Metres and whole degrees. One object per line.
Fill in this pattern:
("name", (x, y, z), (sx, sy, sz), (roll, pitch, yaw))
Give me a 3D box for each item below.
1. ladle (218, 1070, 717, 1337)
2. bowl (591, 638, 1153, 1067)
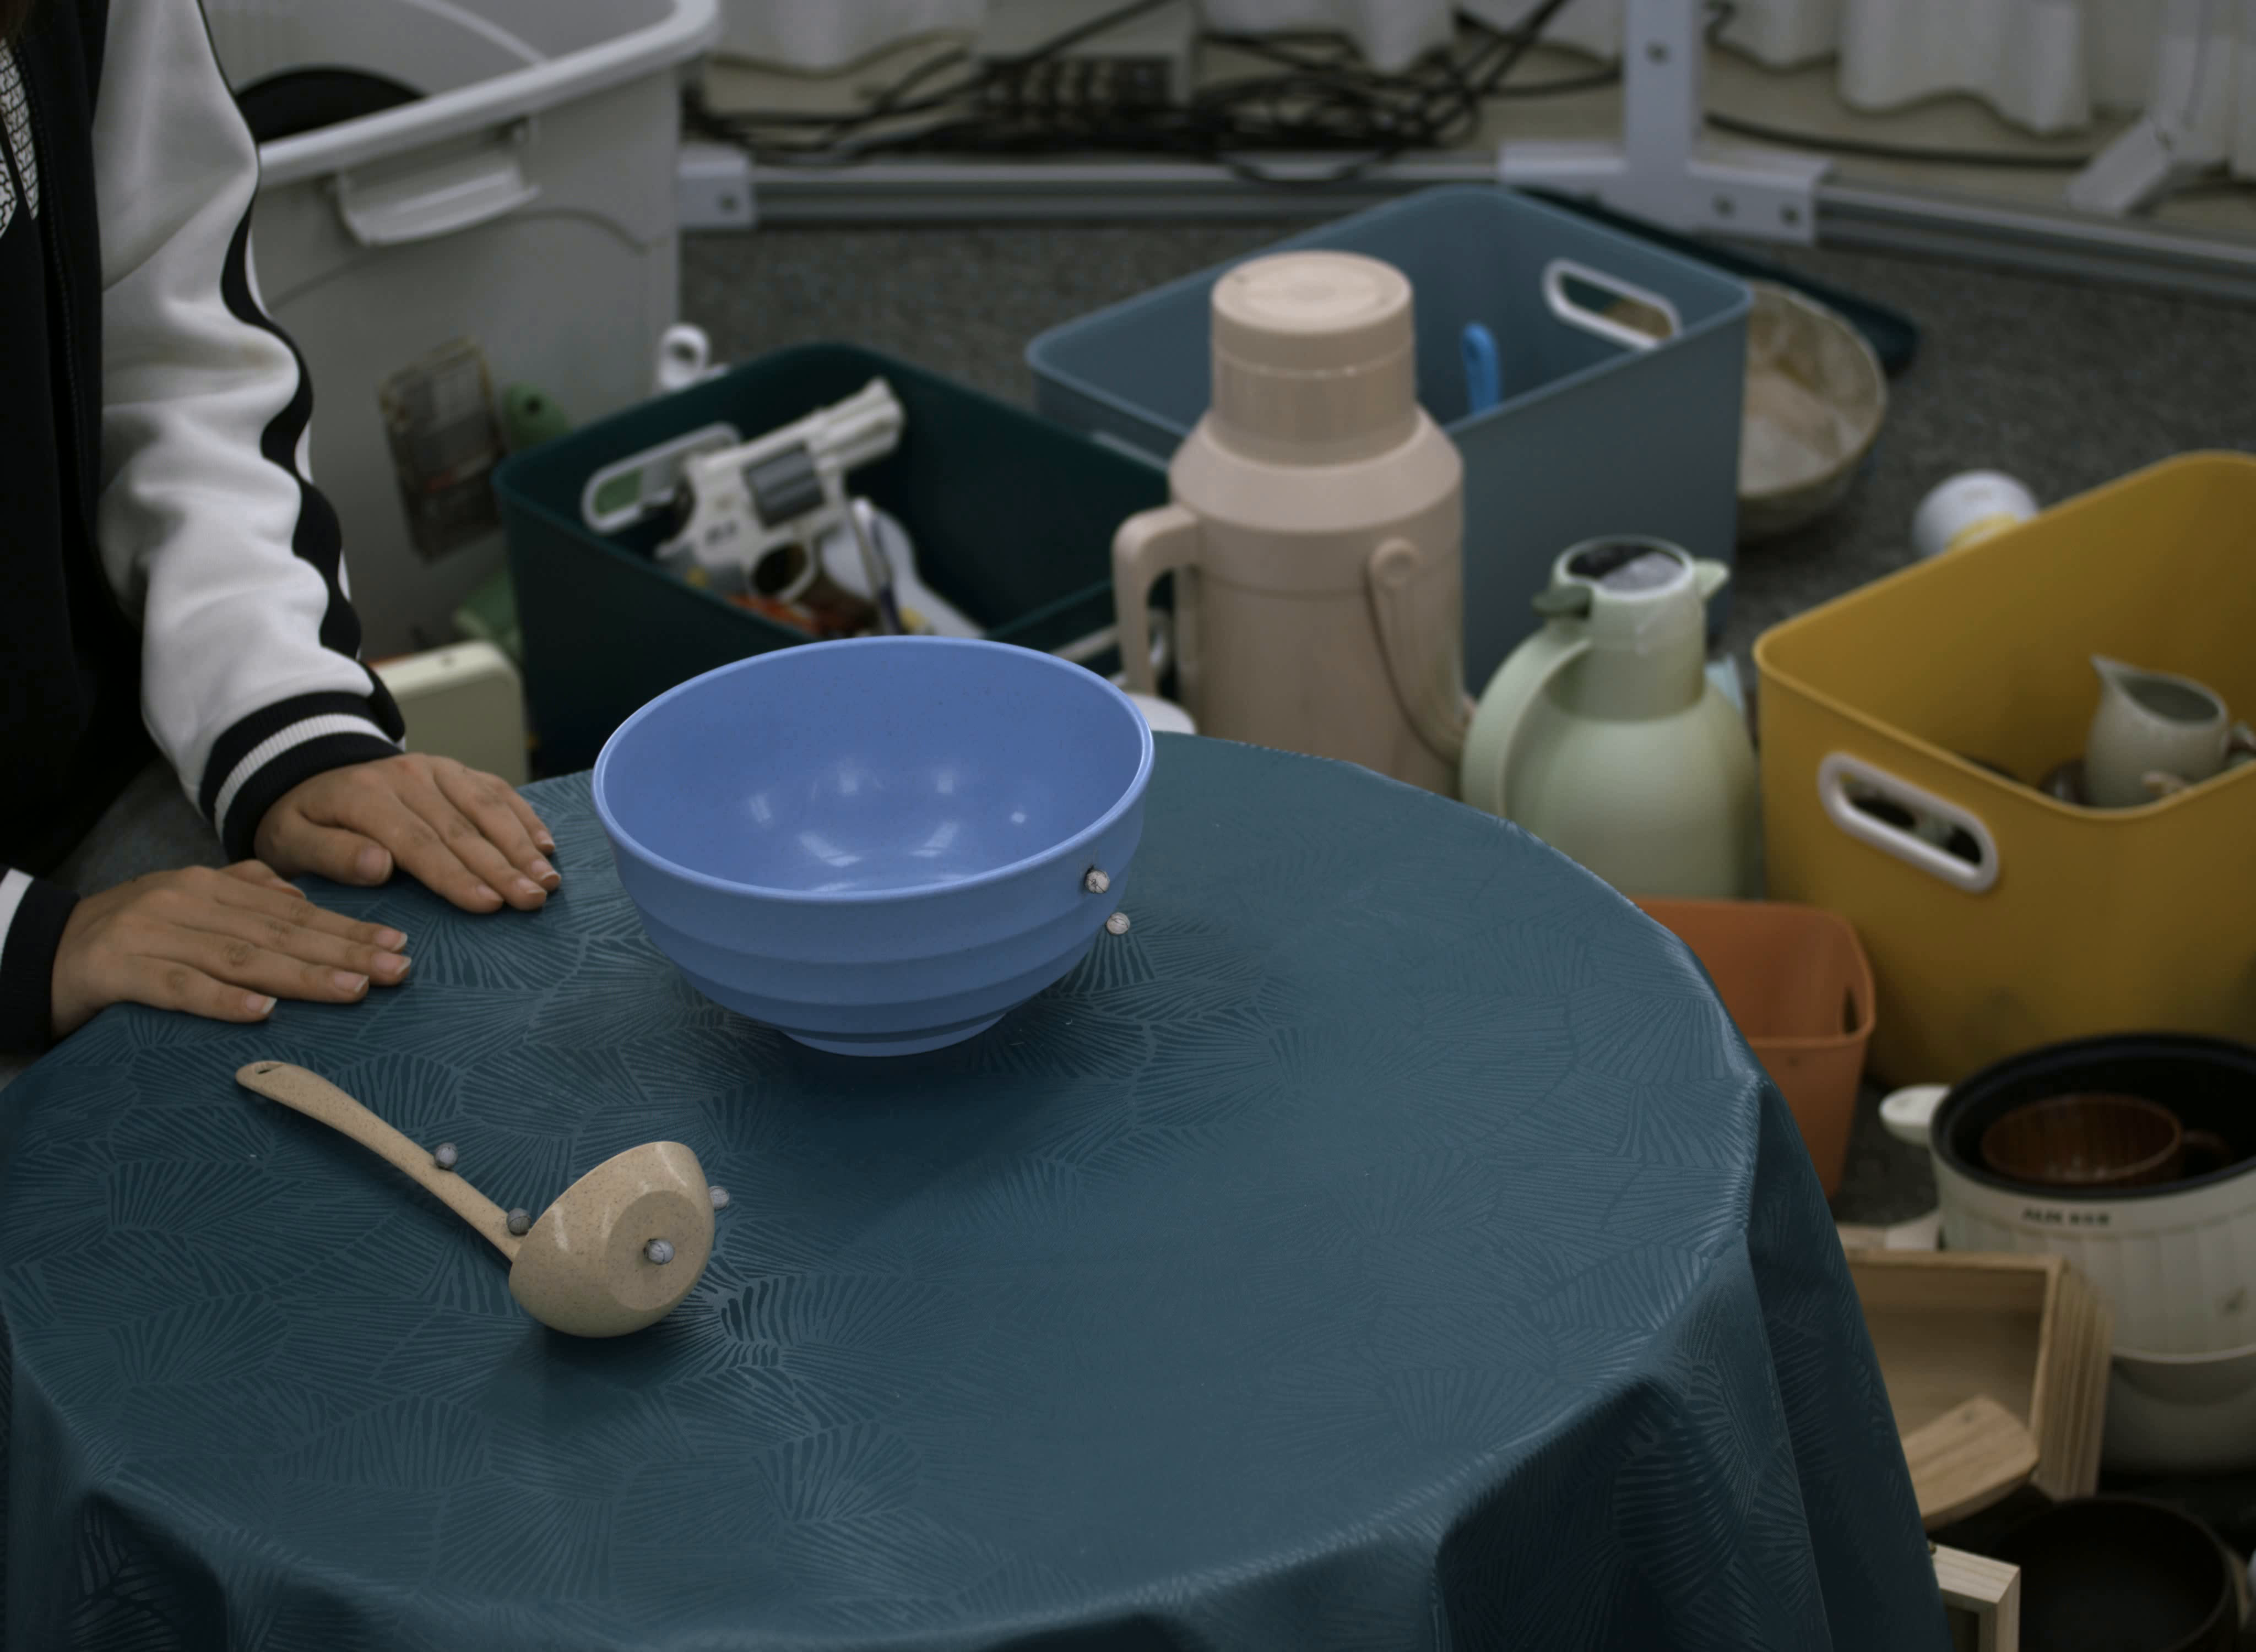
("ladle", (-0.230, 0.097, 1.853), (0.073, 0.072, 0.254), (-23, 33, -36))
("bowl", (-0.085, 0.021, 1.970), (0.195, 0.094, 0.199), (-3, 28, 2))
